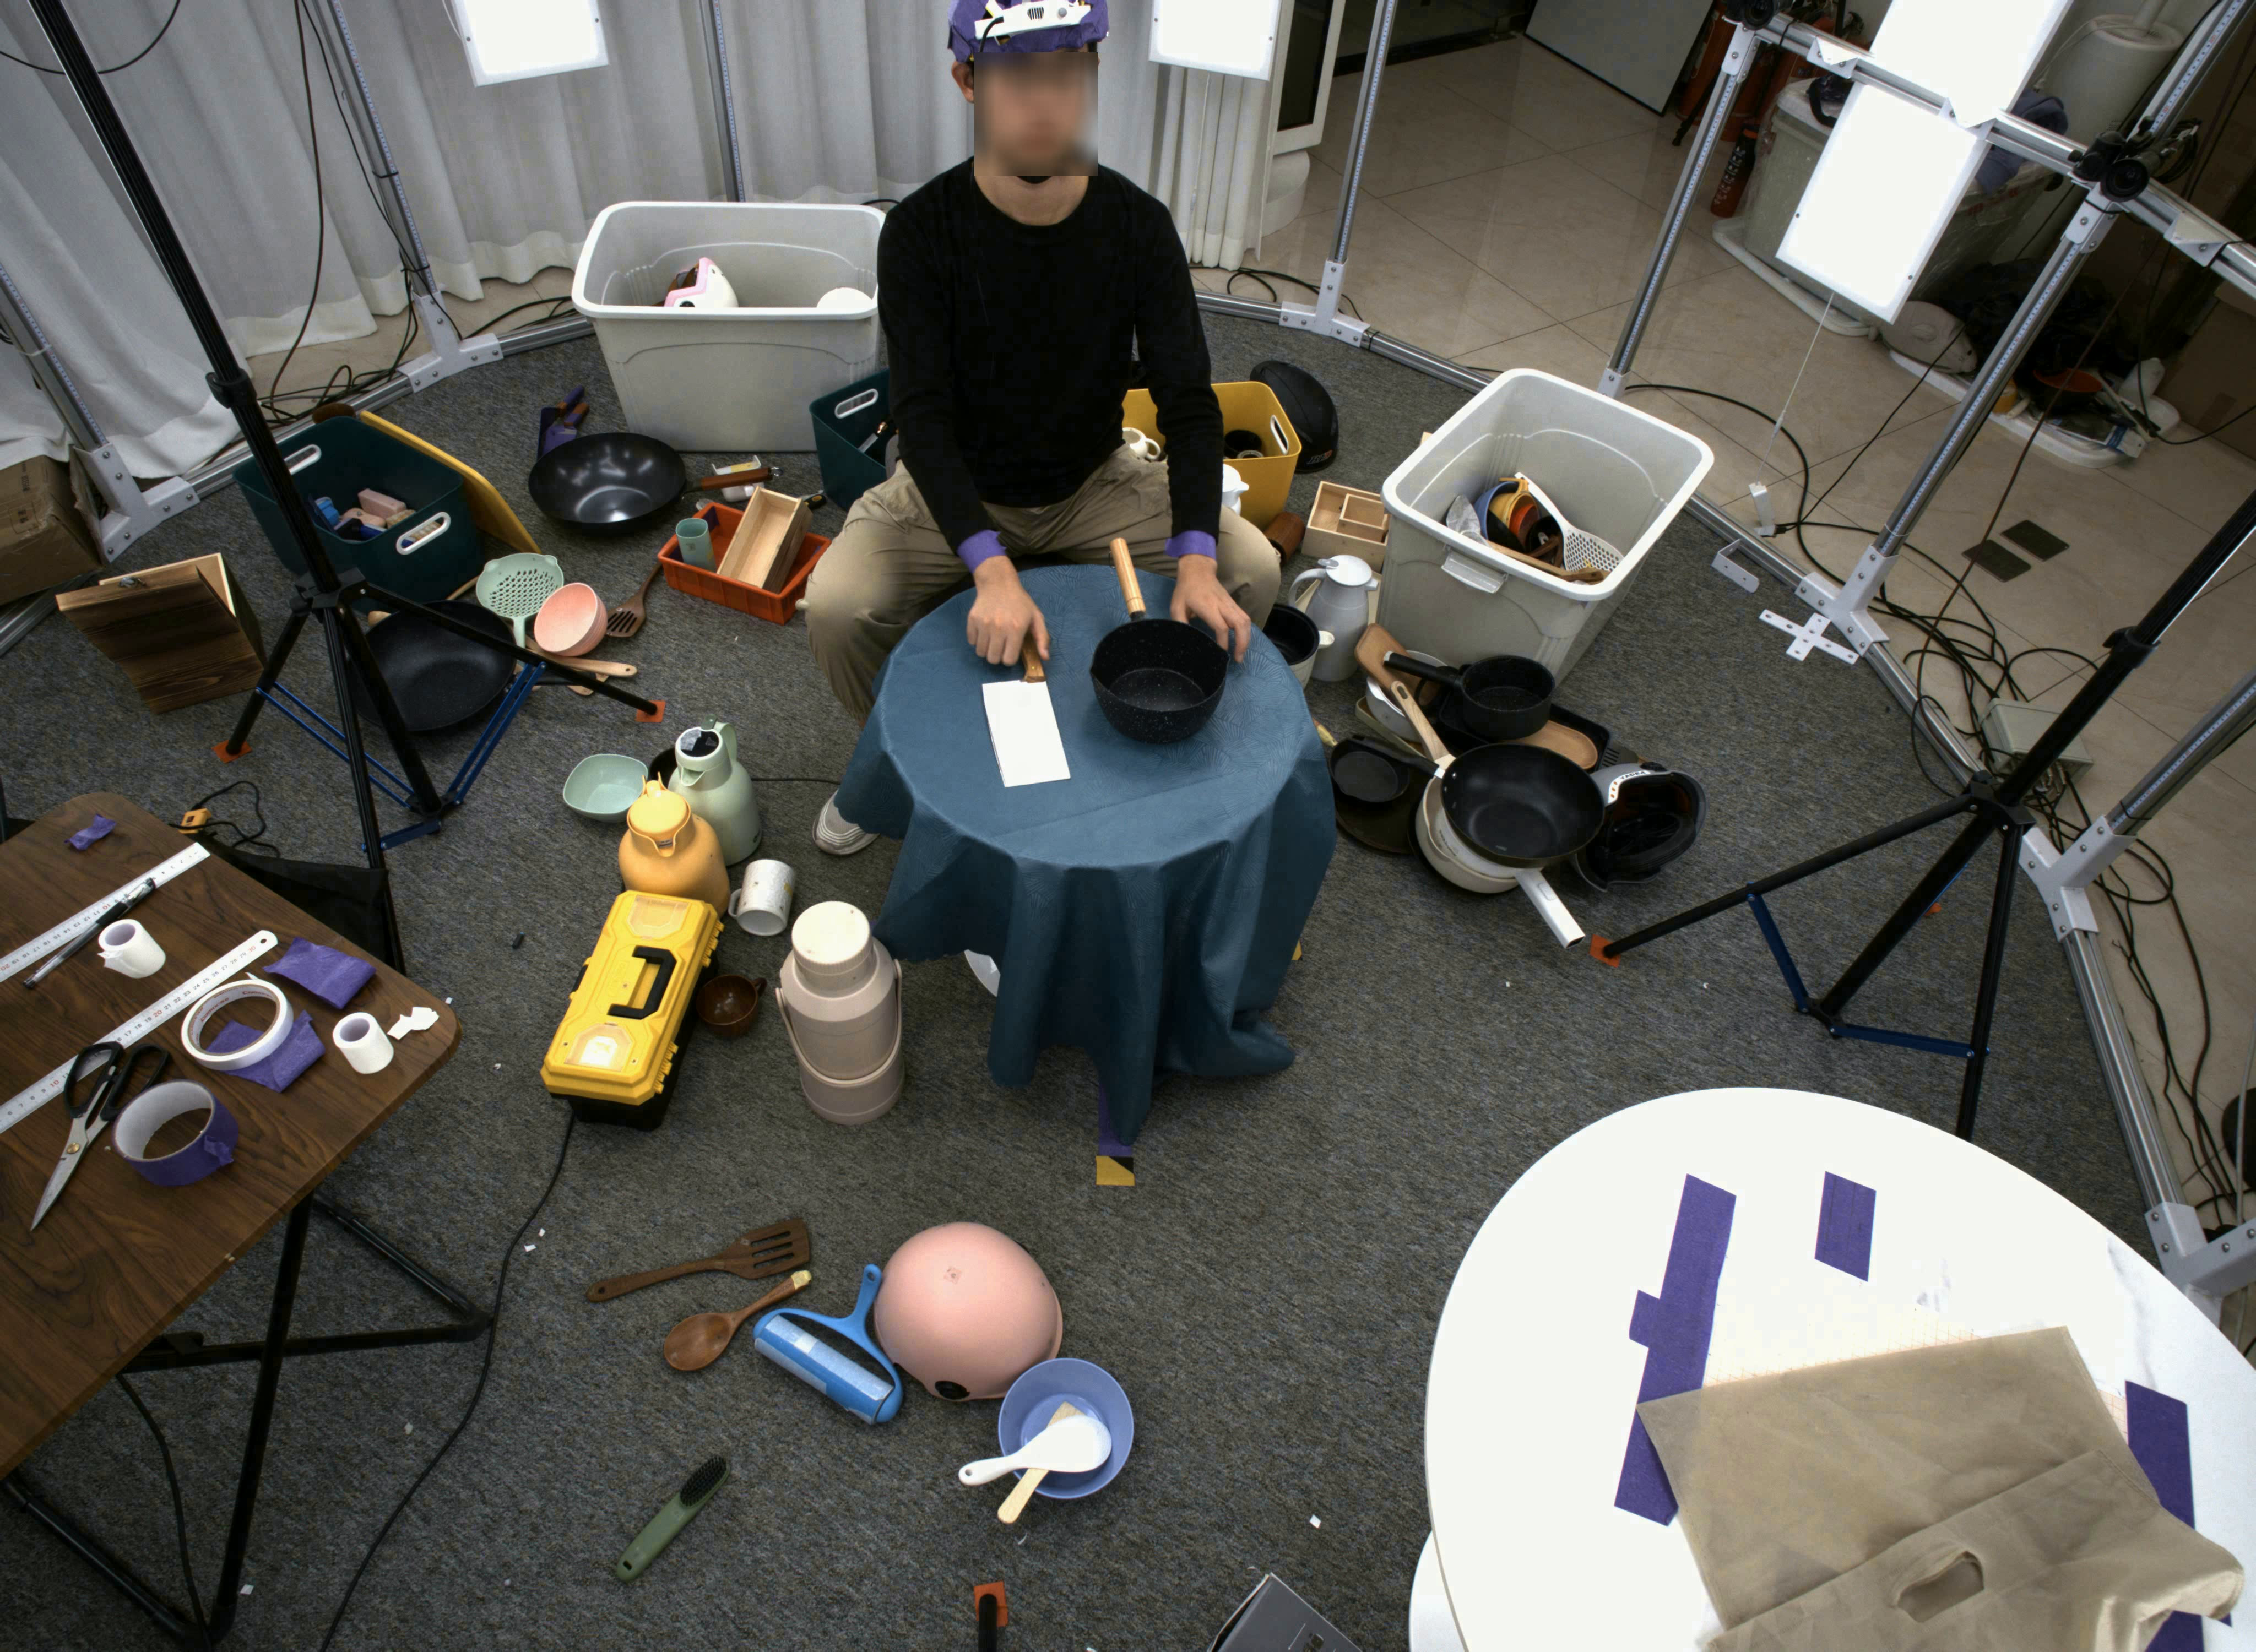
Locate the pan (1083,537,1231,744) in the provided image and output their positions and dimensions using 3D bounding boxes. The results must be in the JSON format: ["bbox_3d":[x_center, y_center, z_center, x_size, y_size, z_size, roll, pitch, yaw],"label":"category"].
[{"bbox_3d":[0.021,-0.264,1.831,0.207,0.105,0.351,-10,52,-11],"label":"pan"}]

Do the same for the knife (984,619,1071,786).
[{"bbox_3d":[-0.152,-0.177,1.804,0.093,0.020,0.313,-8,52,-9],"label":"knife"}]
